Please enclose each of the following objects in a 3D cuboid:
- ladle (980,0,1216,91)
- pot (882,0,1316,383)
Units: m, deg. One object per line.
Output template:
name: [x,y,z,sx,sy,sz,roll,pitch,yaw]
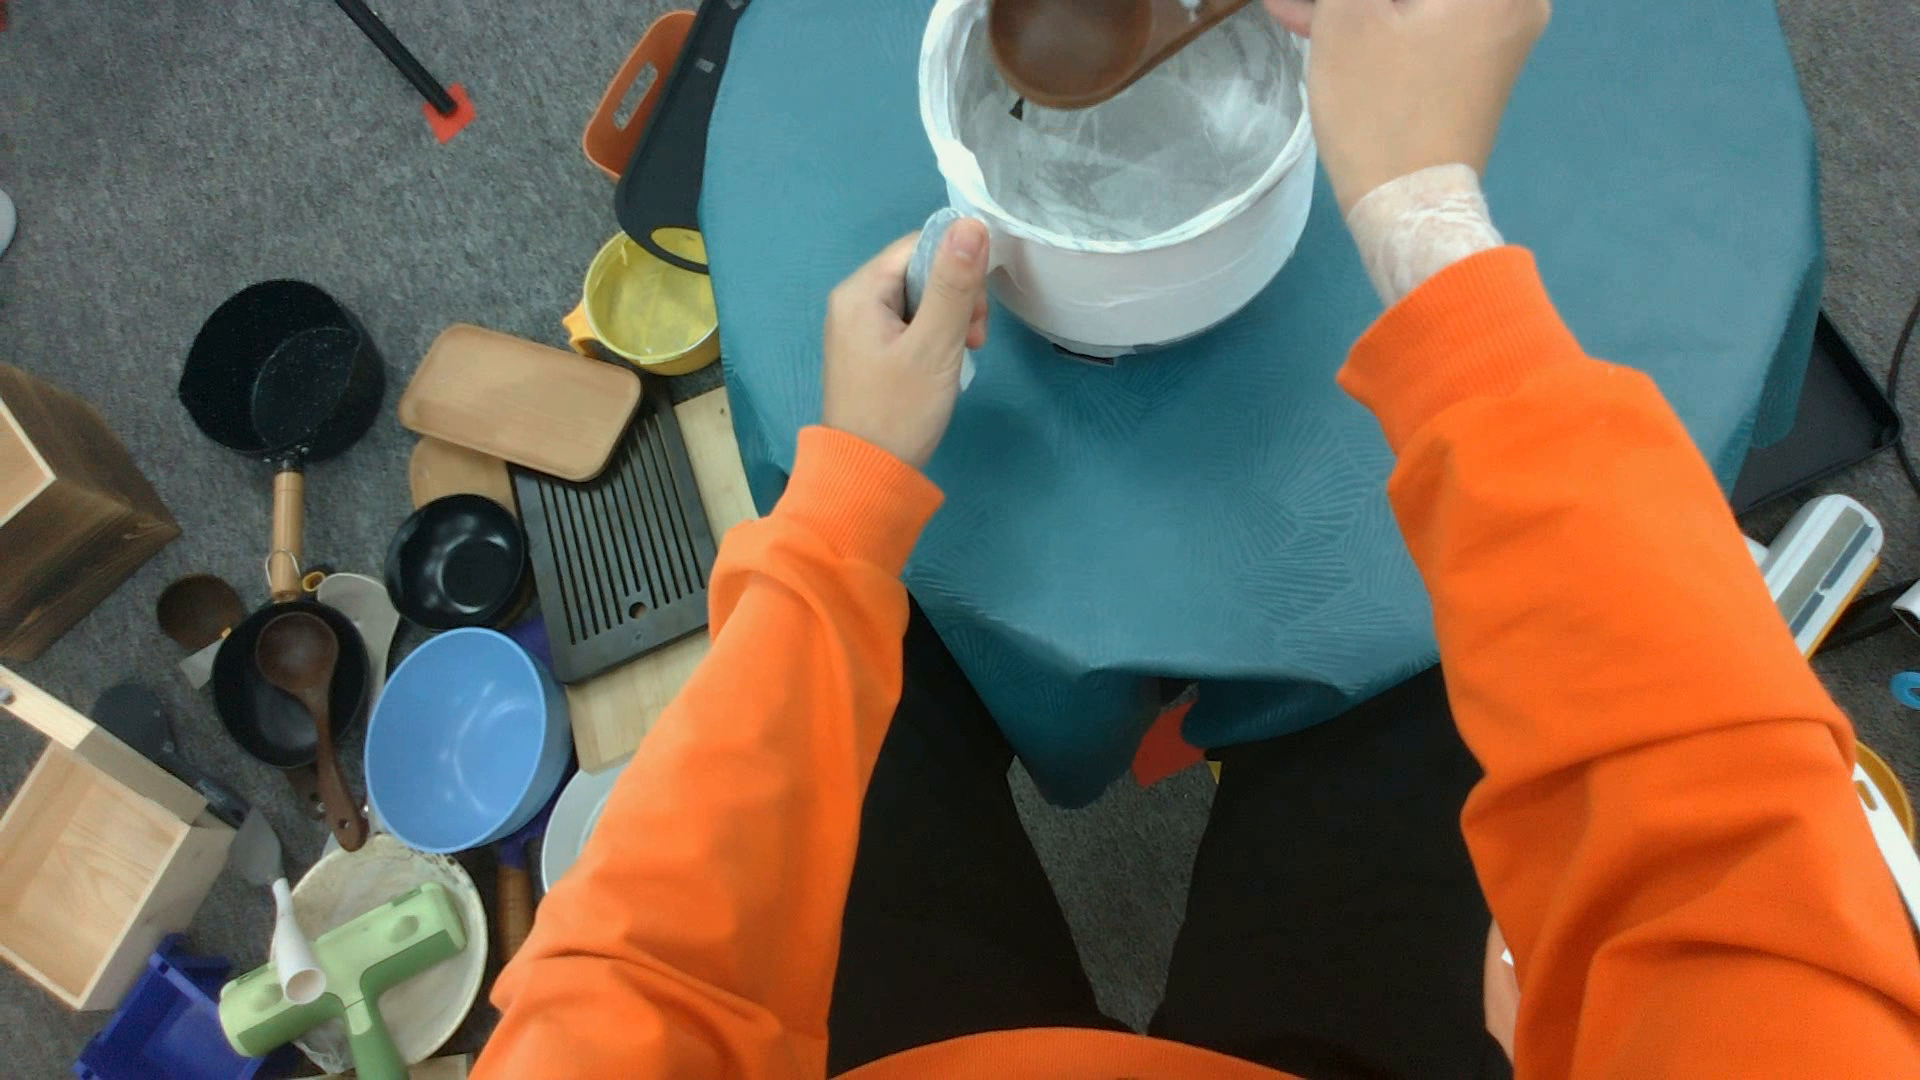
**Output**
ladle: [0.115,-0.241,0.540,0.259,0.065,0.076,-5,82,47]
pot: [0.052,-0.175,0.650,0.234,0.136,0.179,-45,73,-5]
